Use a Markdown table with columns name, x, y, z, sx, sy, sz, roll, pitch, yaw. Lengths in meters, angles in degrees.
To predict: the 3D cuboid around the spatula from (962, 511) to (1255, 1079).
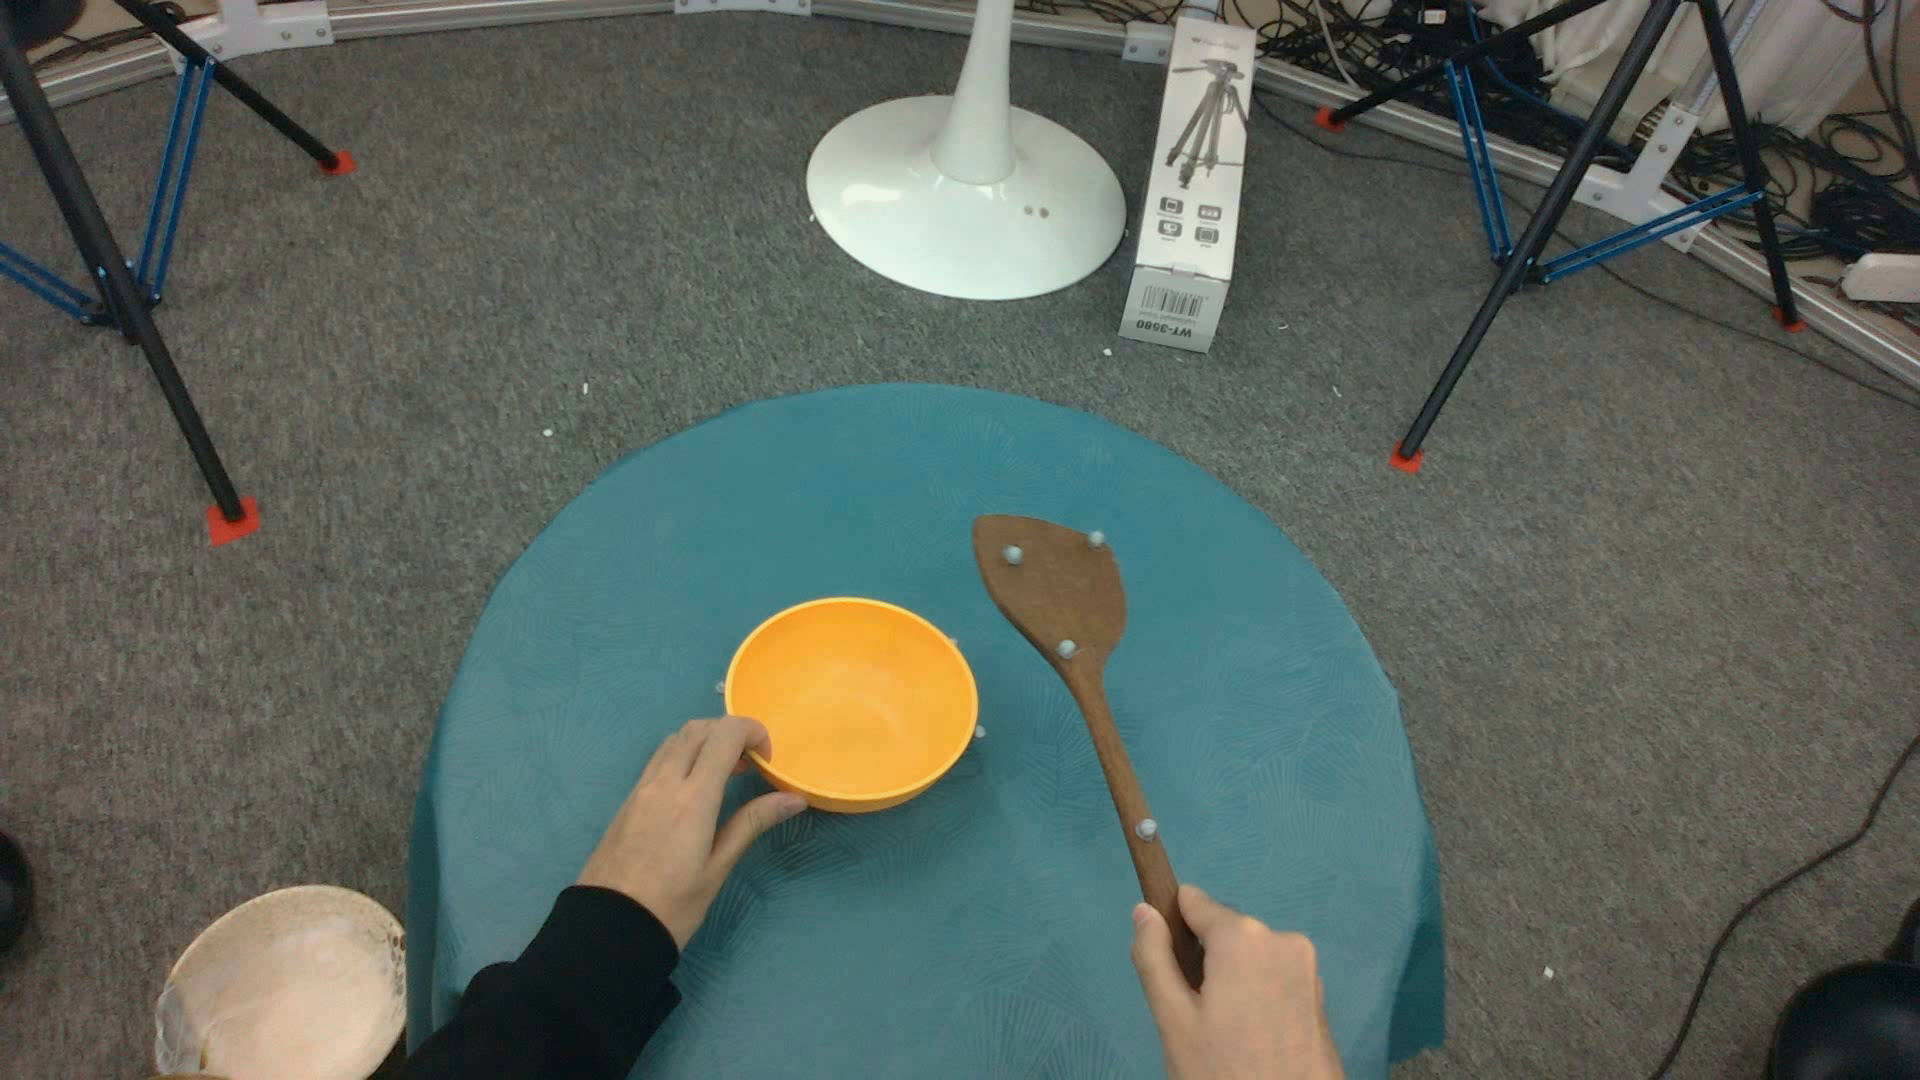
| name | x | y | z | sx | sy | sz | roll | pitch | yaw |
| --- | --- | --- | --- | --- | --- | --- | --- | --- | --- |
| spatula | 0.078 | 0.122 | 0.661 | 0.096 | 0.015 | 0.387 | 11 | 40 | -27 |

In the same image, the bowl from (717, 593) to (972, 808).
| name | x | y | z | sx | sy | sz | roll | pitch | yaw |
| --- | --- | --- | --- | --- | --- | --- | --- | --- | --- |
| bowl | -0.068 | 0.103 | 0.805 | 0.145 | 0.060 | 0.146 | 4 | 46 | -4 |
